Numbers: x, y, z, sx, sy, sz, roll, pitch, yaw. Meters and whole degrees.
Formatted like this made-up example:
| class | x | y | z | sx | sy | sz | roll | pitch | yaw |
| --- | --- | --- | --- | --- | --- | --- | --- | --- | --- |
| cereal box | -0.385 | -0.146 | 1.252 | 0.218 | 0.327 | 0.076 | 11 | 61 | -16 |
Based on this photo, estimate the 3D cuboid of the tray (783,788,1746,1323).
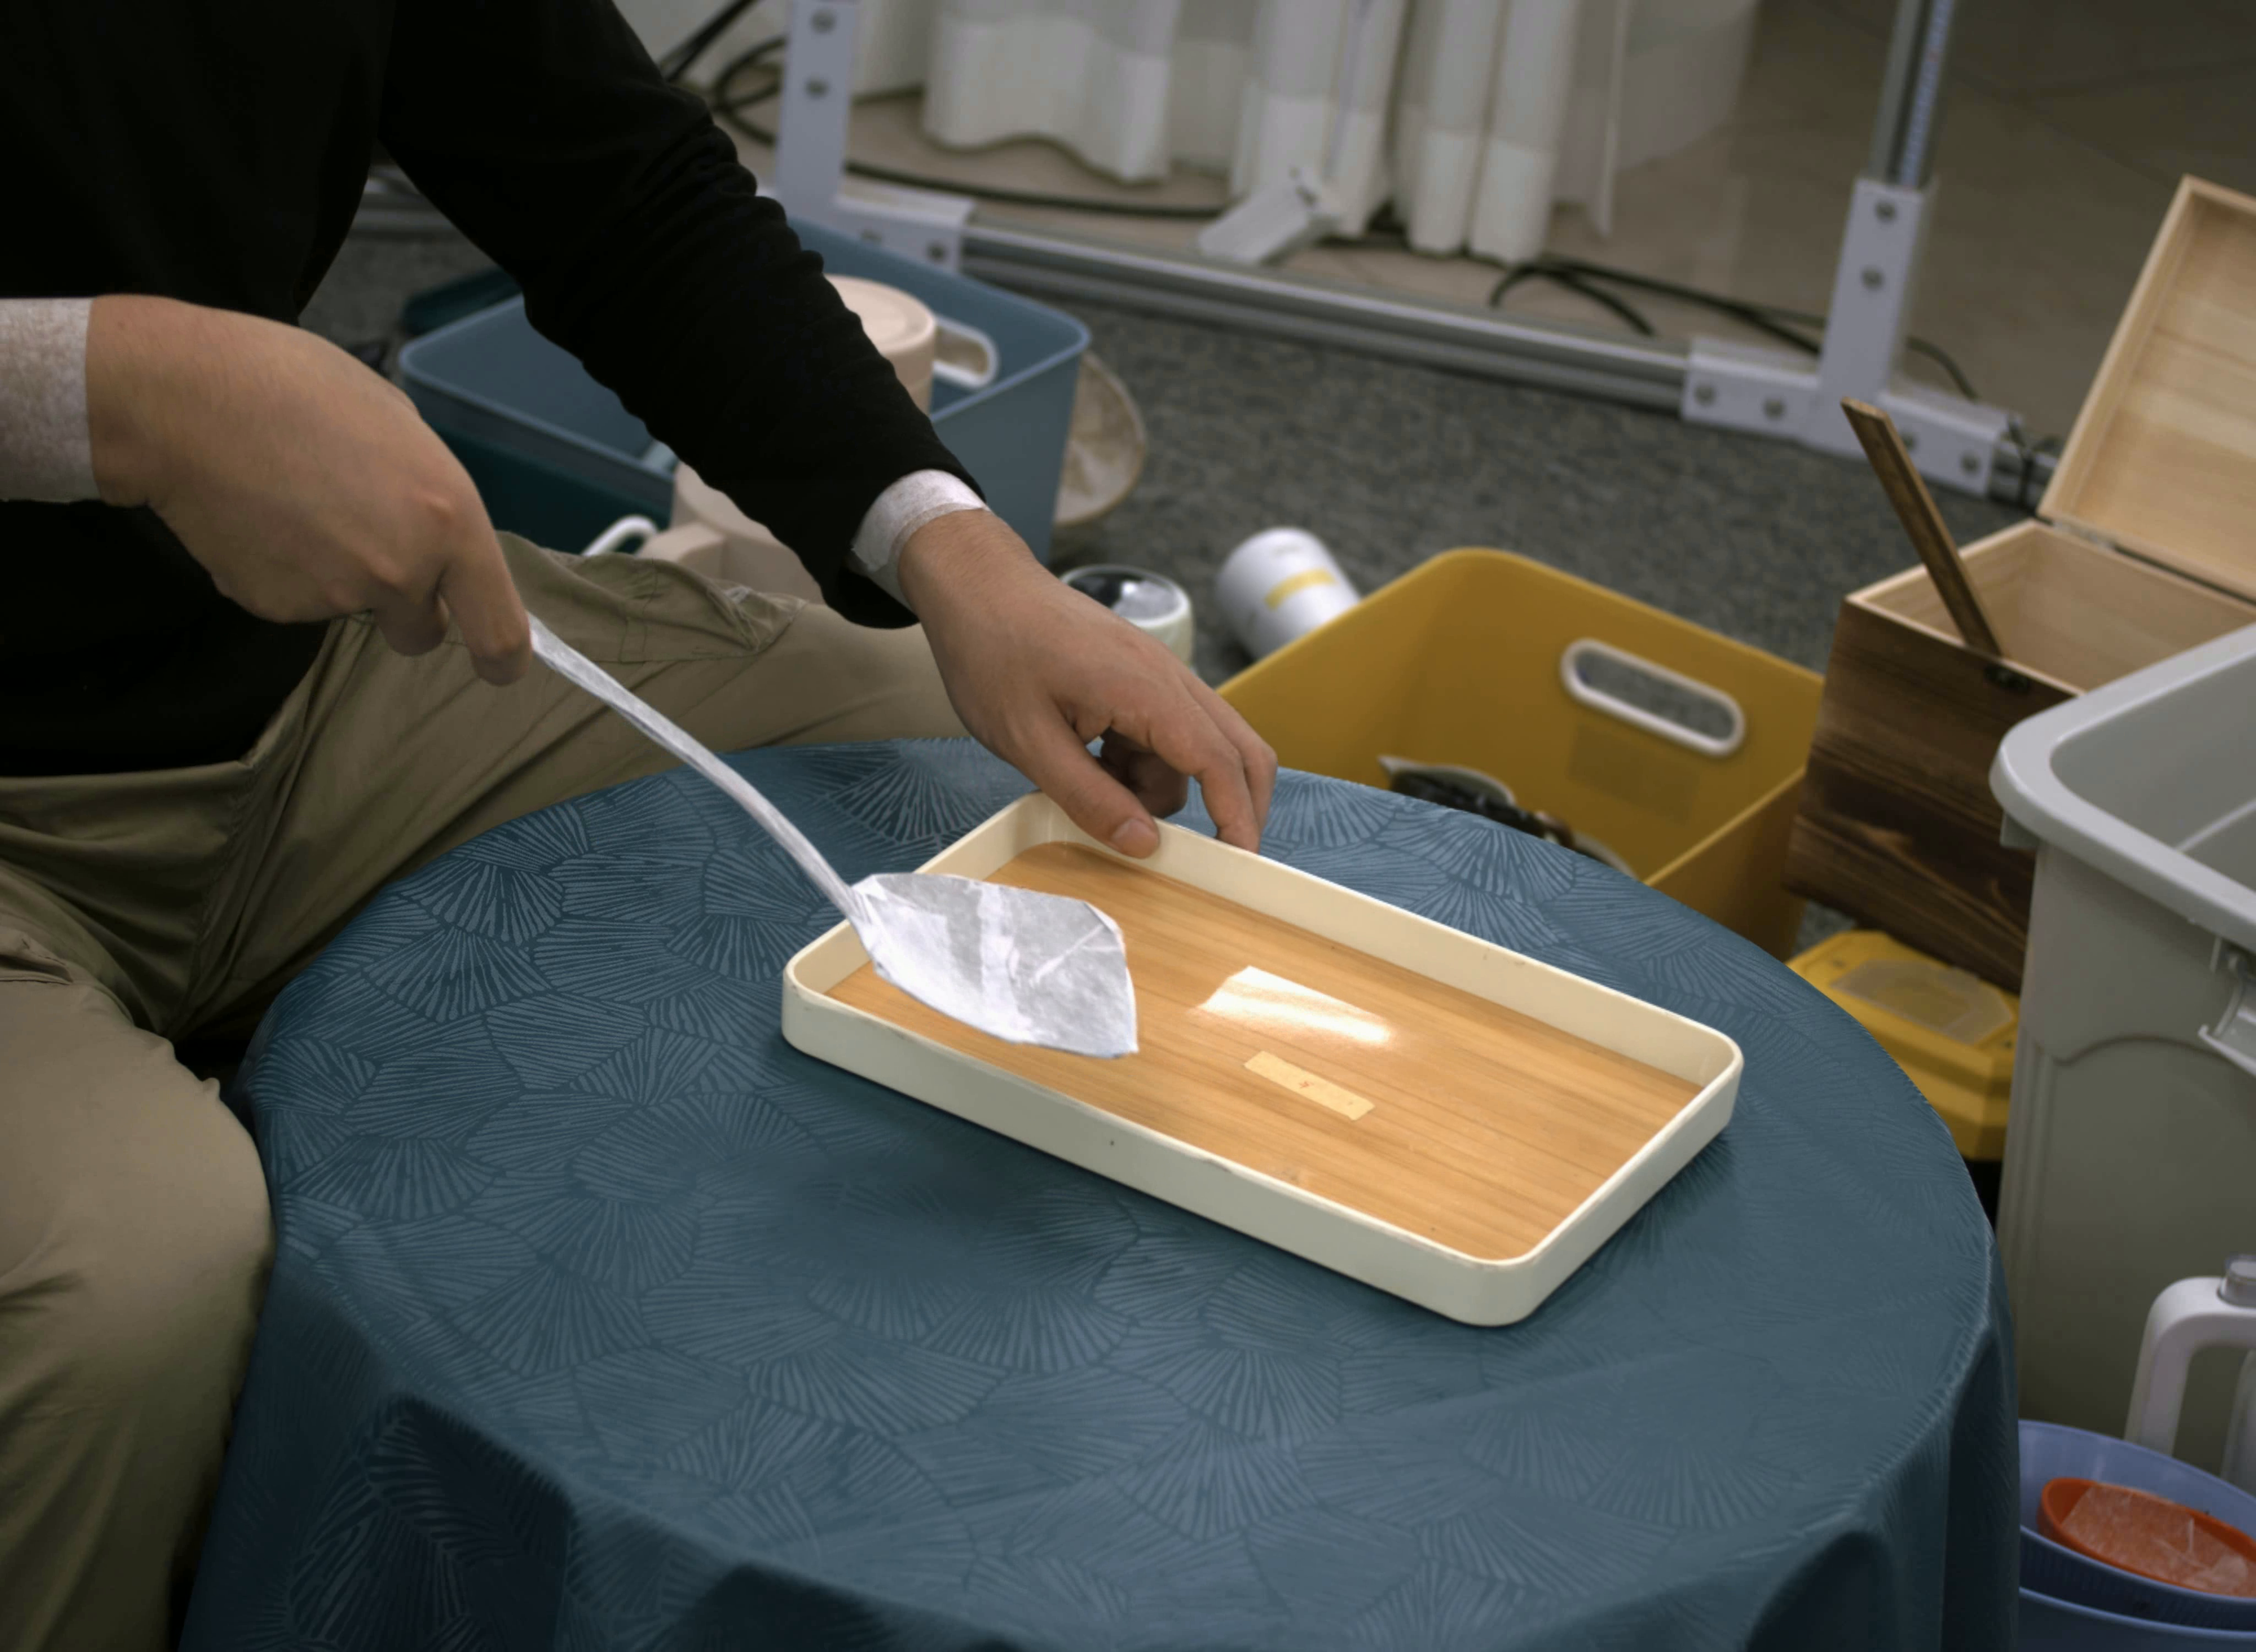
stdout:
| class | x | y | z | sx | sy | sz | roll | pitch | yaw |
| --- | --- | --- | --- | --- | --- | --- | --- | --- | --- |
| tray | 0.047 | 0.076 | 1.870 | 0.302 | 0.027 | 0.191 | 21 | 32 | 26 |

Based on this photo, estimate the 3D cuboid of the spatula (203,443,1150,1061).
| class | x | y | z | sx | sy | sz | roll | pitch | yaw |
| --- | --- | --- | --- | --- | --- | --- | --- | --- | --- |
| spatula | -0.142 | -0.029 | 1.728 | 0.362 | 0.045 | 0.099 | 37 | 24 | -21 |
